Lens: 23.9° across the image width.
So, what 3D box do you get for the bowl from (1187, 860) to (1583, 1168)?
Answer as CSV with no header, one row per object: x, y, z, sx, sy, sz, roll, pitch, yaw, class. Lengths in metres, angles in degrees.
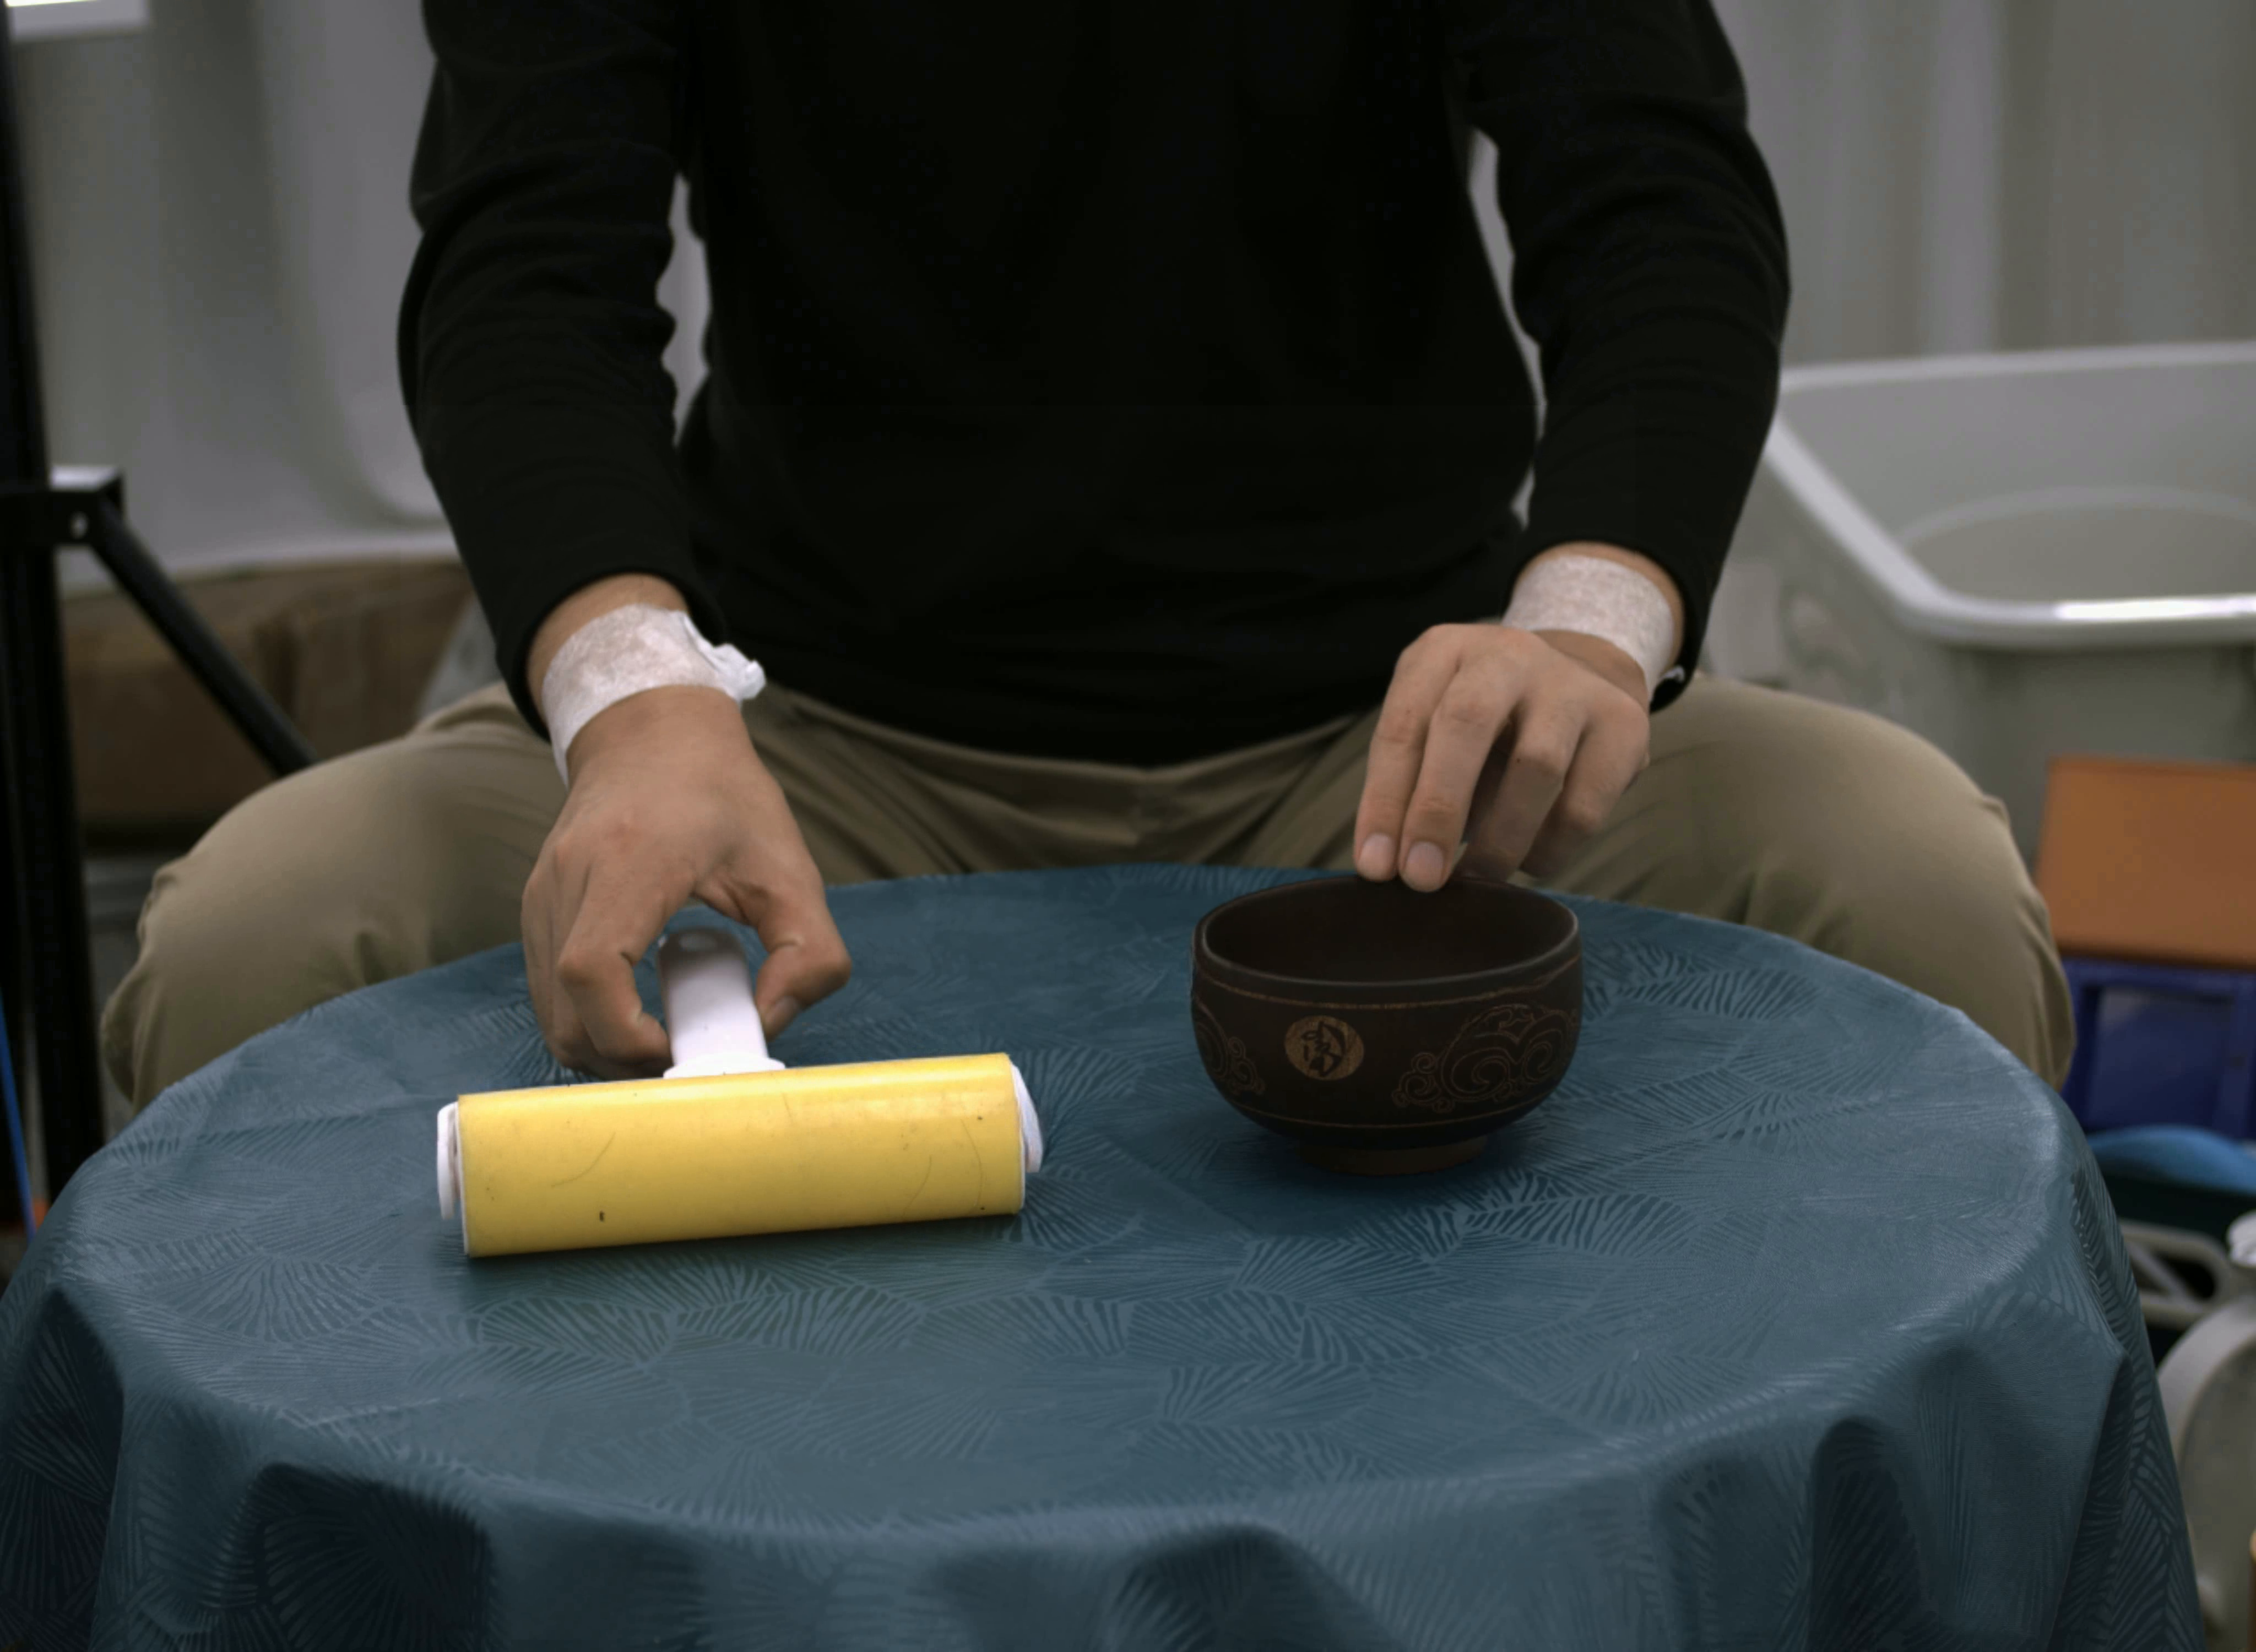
0.077,0.060,1.577,0.117,0.070,0.118,-2,16,-1,bowl

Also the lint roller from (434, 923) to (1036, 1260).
-0.126,0.063,1.600,0.172,0.051,0.195,-5,30,-8,lint roller
